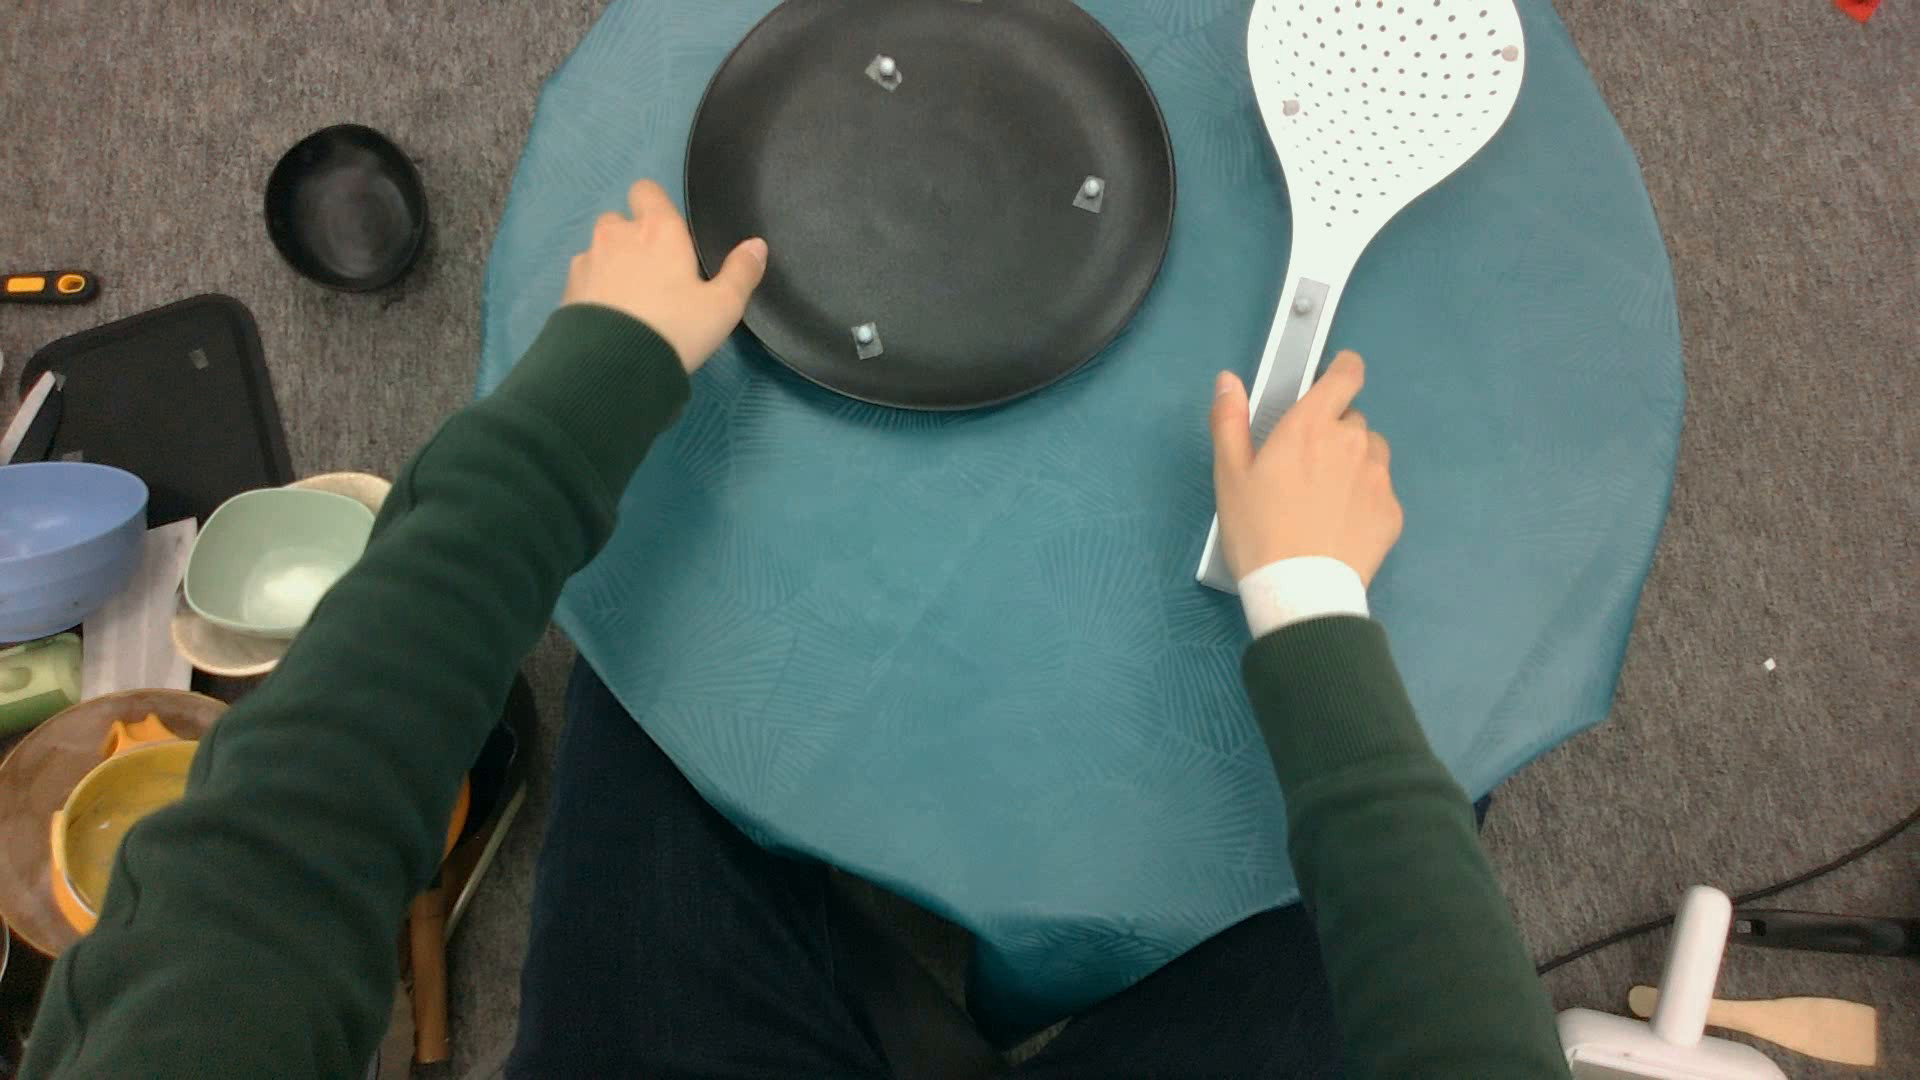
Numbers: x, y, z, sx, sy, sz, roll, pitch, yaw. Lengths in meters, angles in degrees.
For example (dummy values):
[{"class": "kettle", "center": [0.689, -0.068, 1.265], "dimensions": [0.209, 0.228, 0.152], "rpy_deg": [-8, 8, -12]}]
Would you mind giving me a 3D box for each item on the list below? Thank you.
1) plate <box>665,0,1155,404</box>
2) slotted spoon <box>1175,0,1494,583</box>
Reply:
[{"class": "plate", "center": [-0.024, -0.180, 0.692], "dimensions": [0.244, 0.023, 0.245], "rpy_deg": [1, 76, -3]}, {"class": "slotted spoon", "center": [0.168, -0.146, 0.684], "dimensions": [0.136, 0.045, 0.350], "rpy_deg": [17, 76, 3]}]
